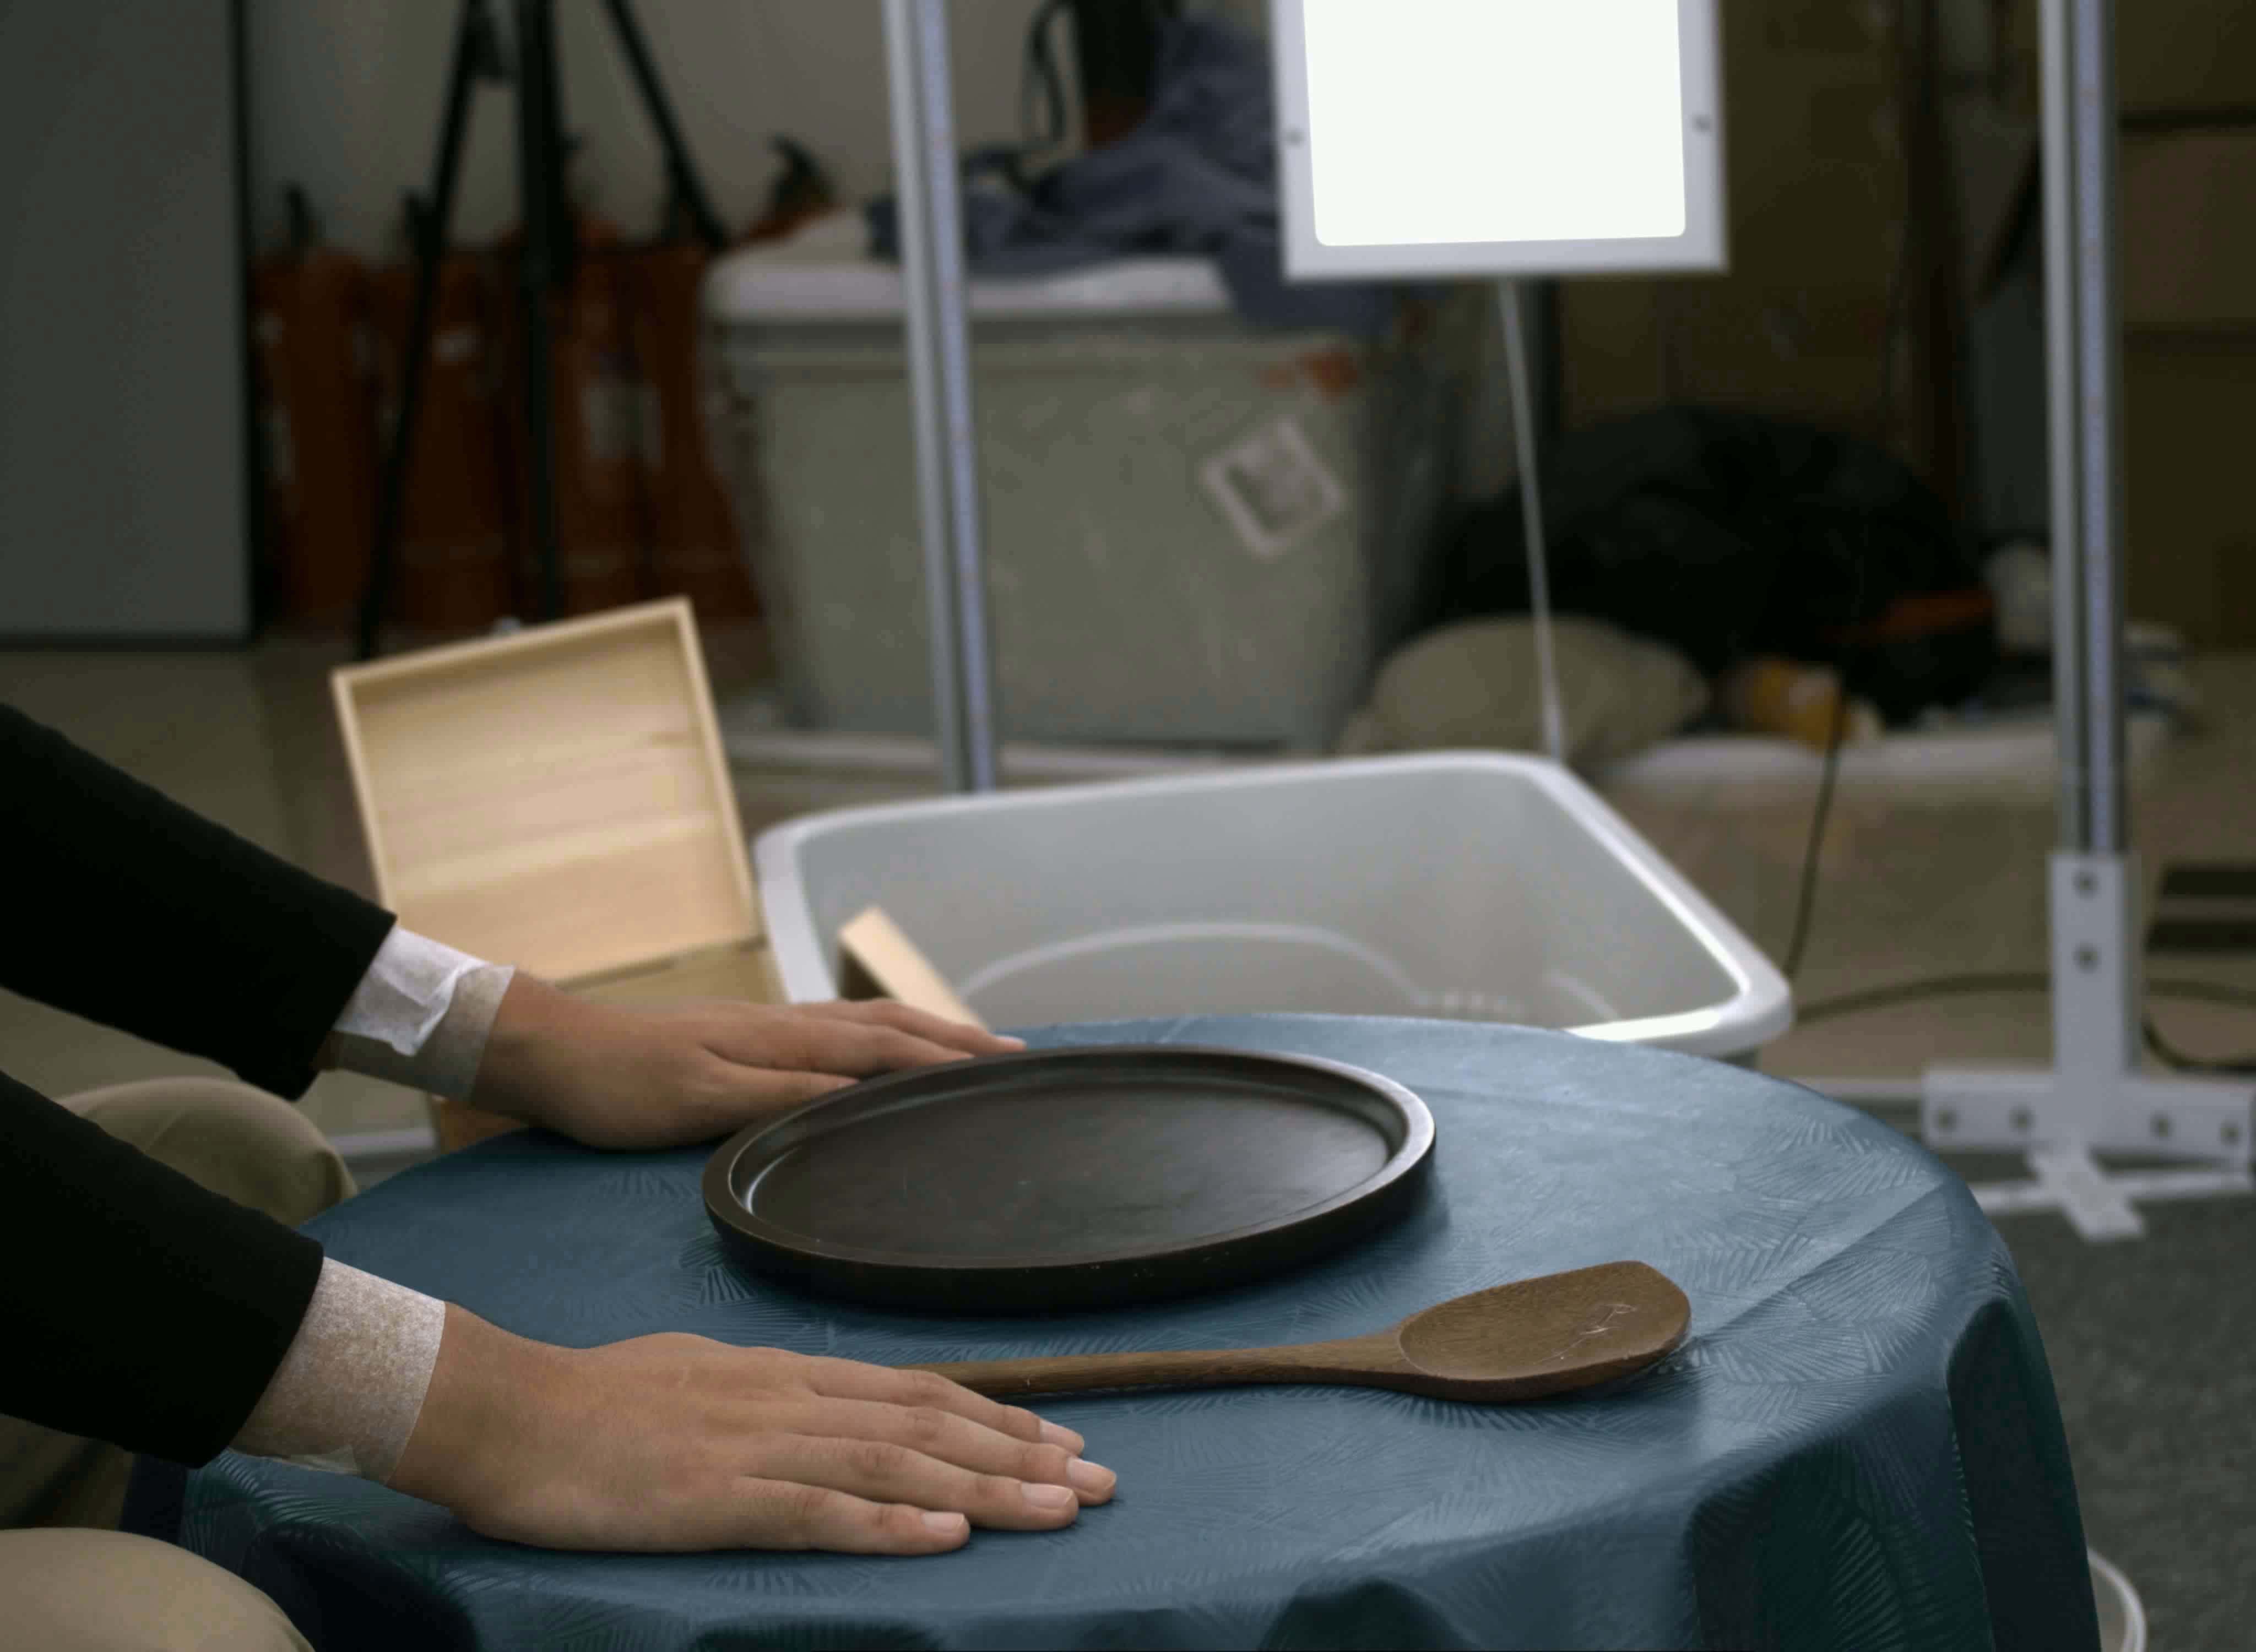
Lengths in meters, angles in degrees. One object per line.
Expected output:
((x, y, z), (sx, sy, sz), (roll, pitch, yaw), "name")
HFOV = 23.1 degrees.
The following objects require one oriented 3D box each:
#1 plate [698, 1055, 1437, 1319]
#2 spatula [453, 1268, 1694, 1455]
((-0.020, 0.121, 1.884), (0.254, 0.029, 0.254), (-4, 15, 0), "plate")
((-0.017, 0.169, 1.700), (0.385, 0.016, 0.096), (-5, 13, 2), "spatula")
